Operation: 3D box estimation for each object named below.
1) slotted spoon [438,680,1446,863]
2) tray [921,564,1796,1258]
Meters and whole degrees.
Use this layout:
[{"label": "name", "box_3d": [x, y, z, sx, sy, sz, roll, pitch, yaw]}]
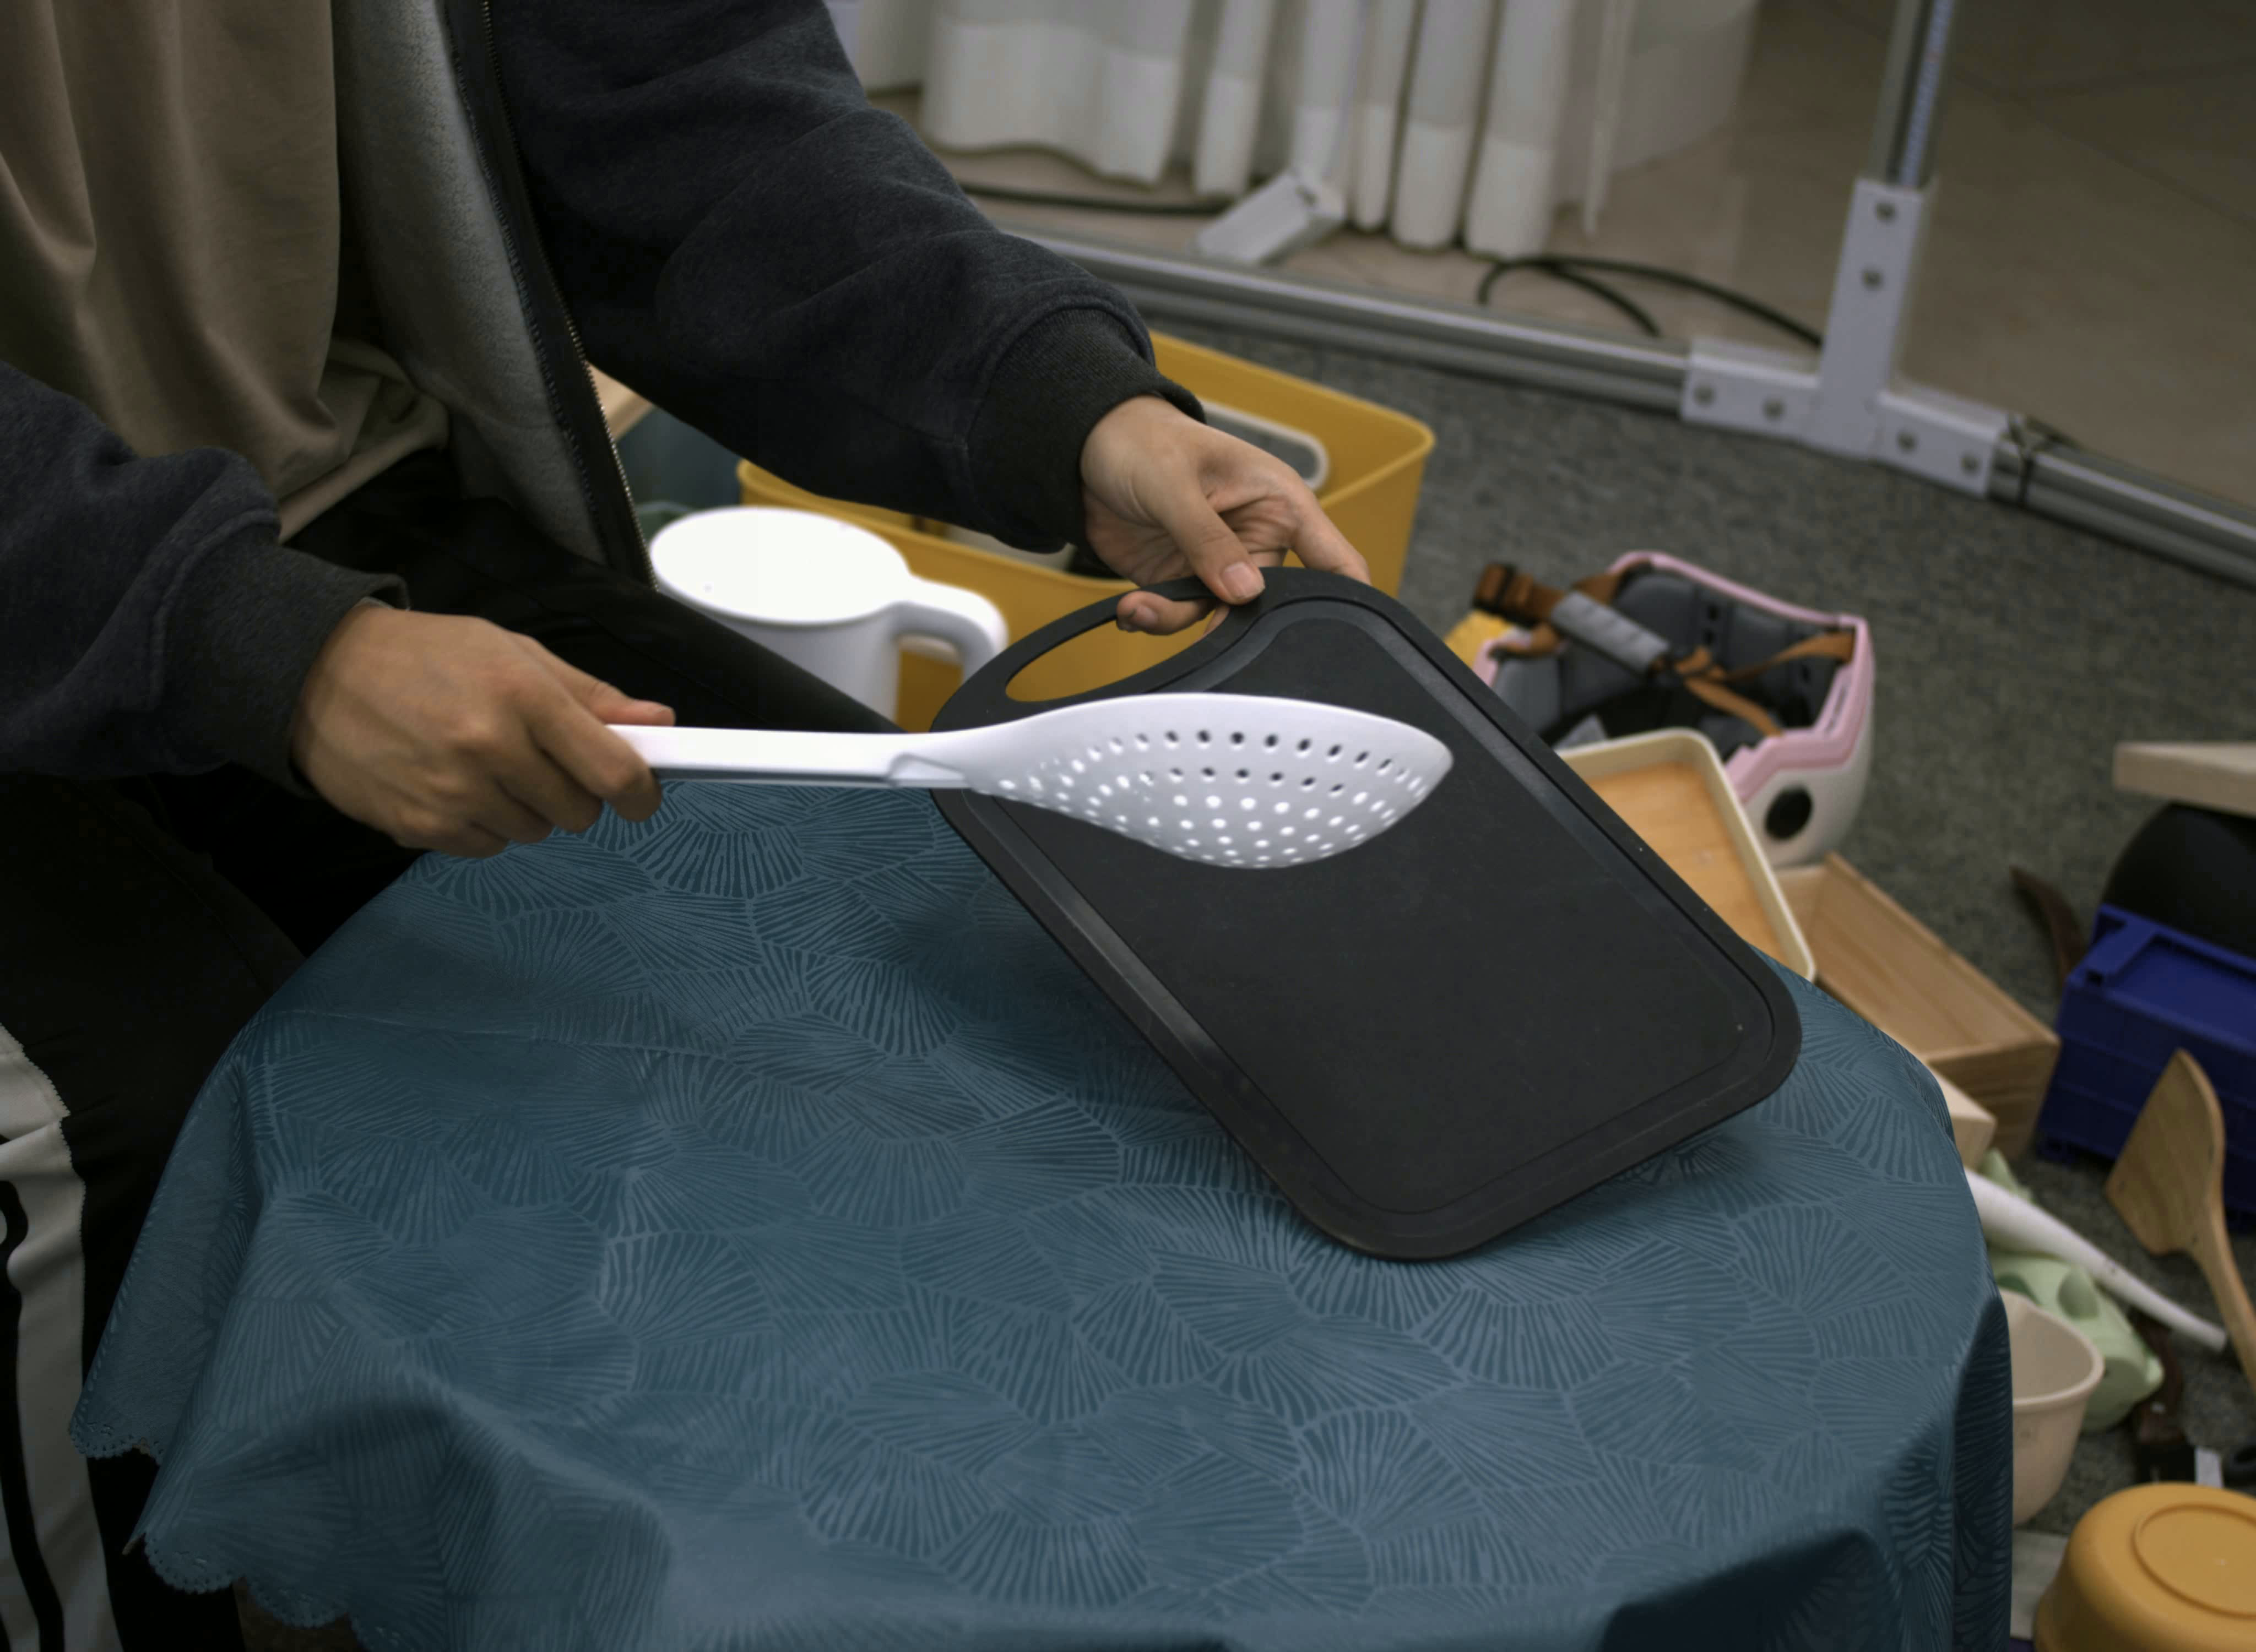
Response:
[{"label": "slotted spoon", "box_3d": [-0.067, -0.023, 1.791, 0.350, 0.046, 0.135, 6, -13, 16]}, {"label": "tray", "box_3d": [0.073, 0.018, 1.897, 0.210, 0.010, 0.328, -24, 52, -25]}]
